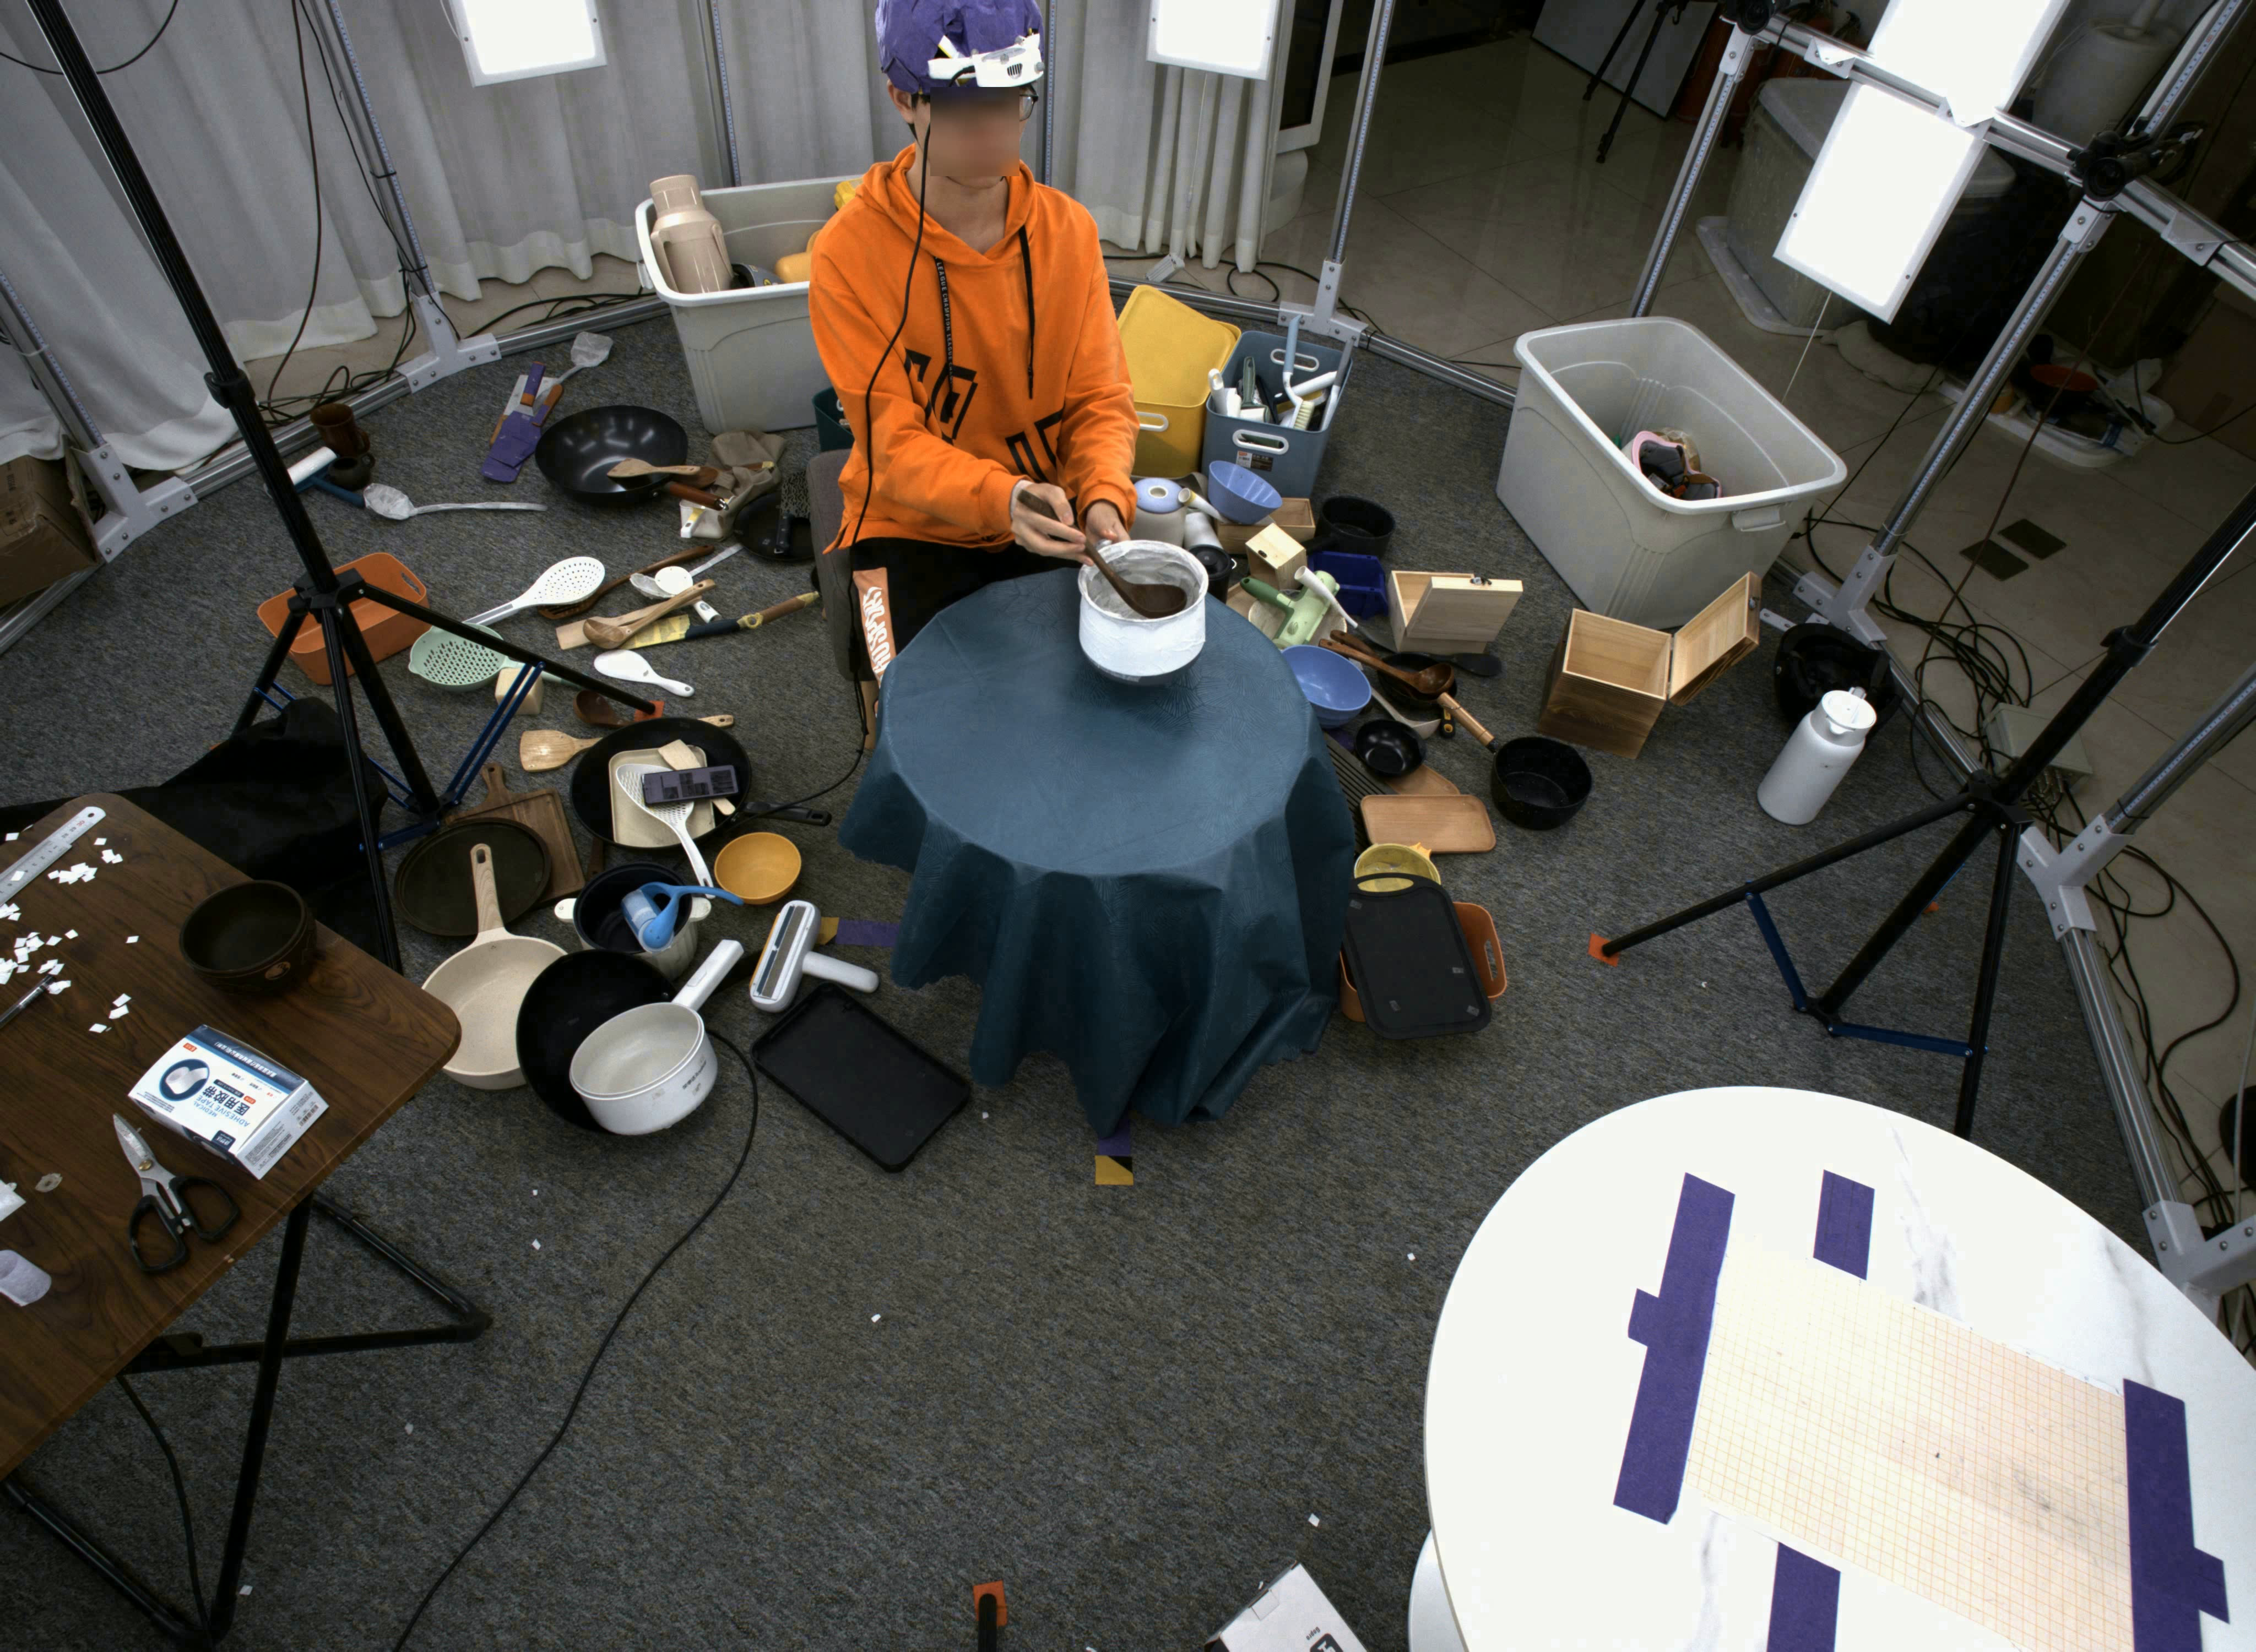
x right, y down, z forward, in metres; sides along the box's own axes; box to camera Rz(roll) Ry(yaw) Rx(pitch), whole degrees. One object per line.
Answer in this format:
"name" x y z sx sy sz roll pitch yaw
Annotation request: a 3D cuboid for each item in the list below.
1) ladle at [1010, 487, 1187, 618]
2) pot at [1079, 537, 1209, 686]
"ladle" -0.034 -0.373 1.715 0.270 0.070 0.078 41 28 -22
"pot" 0.006 -0.310 1.802 0.179 0.133 0.238 -24 52 -21
